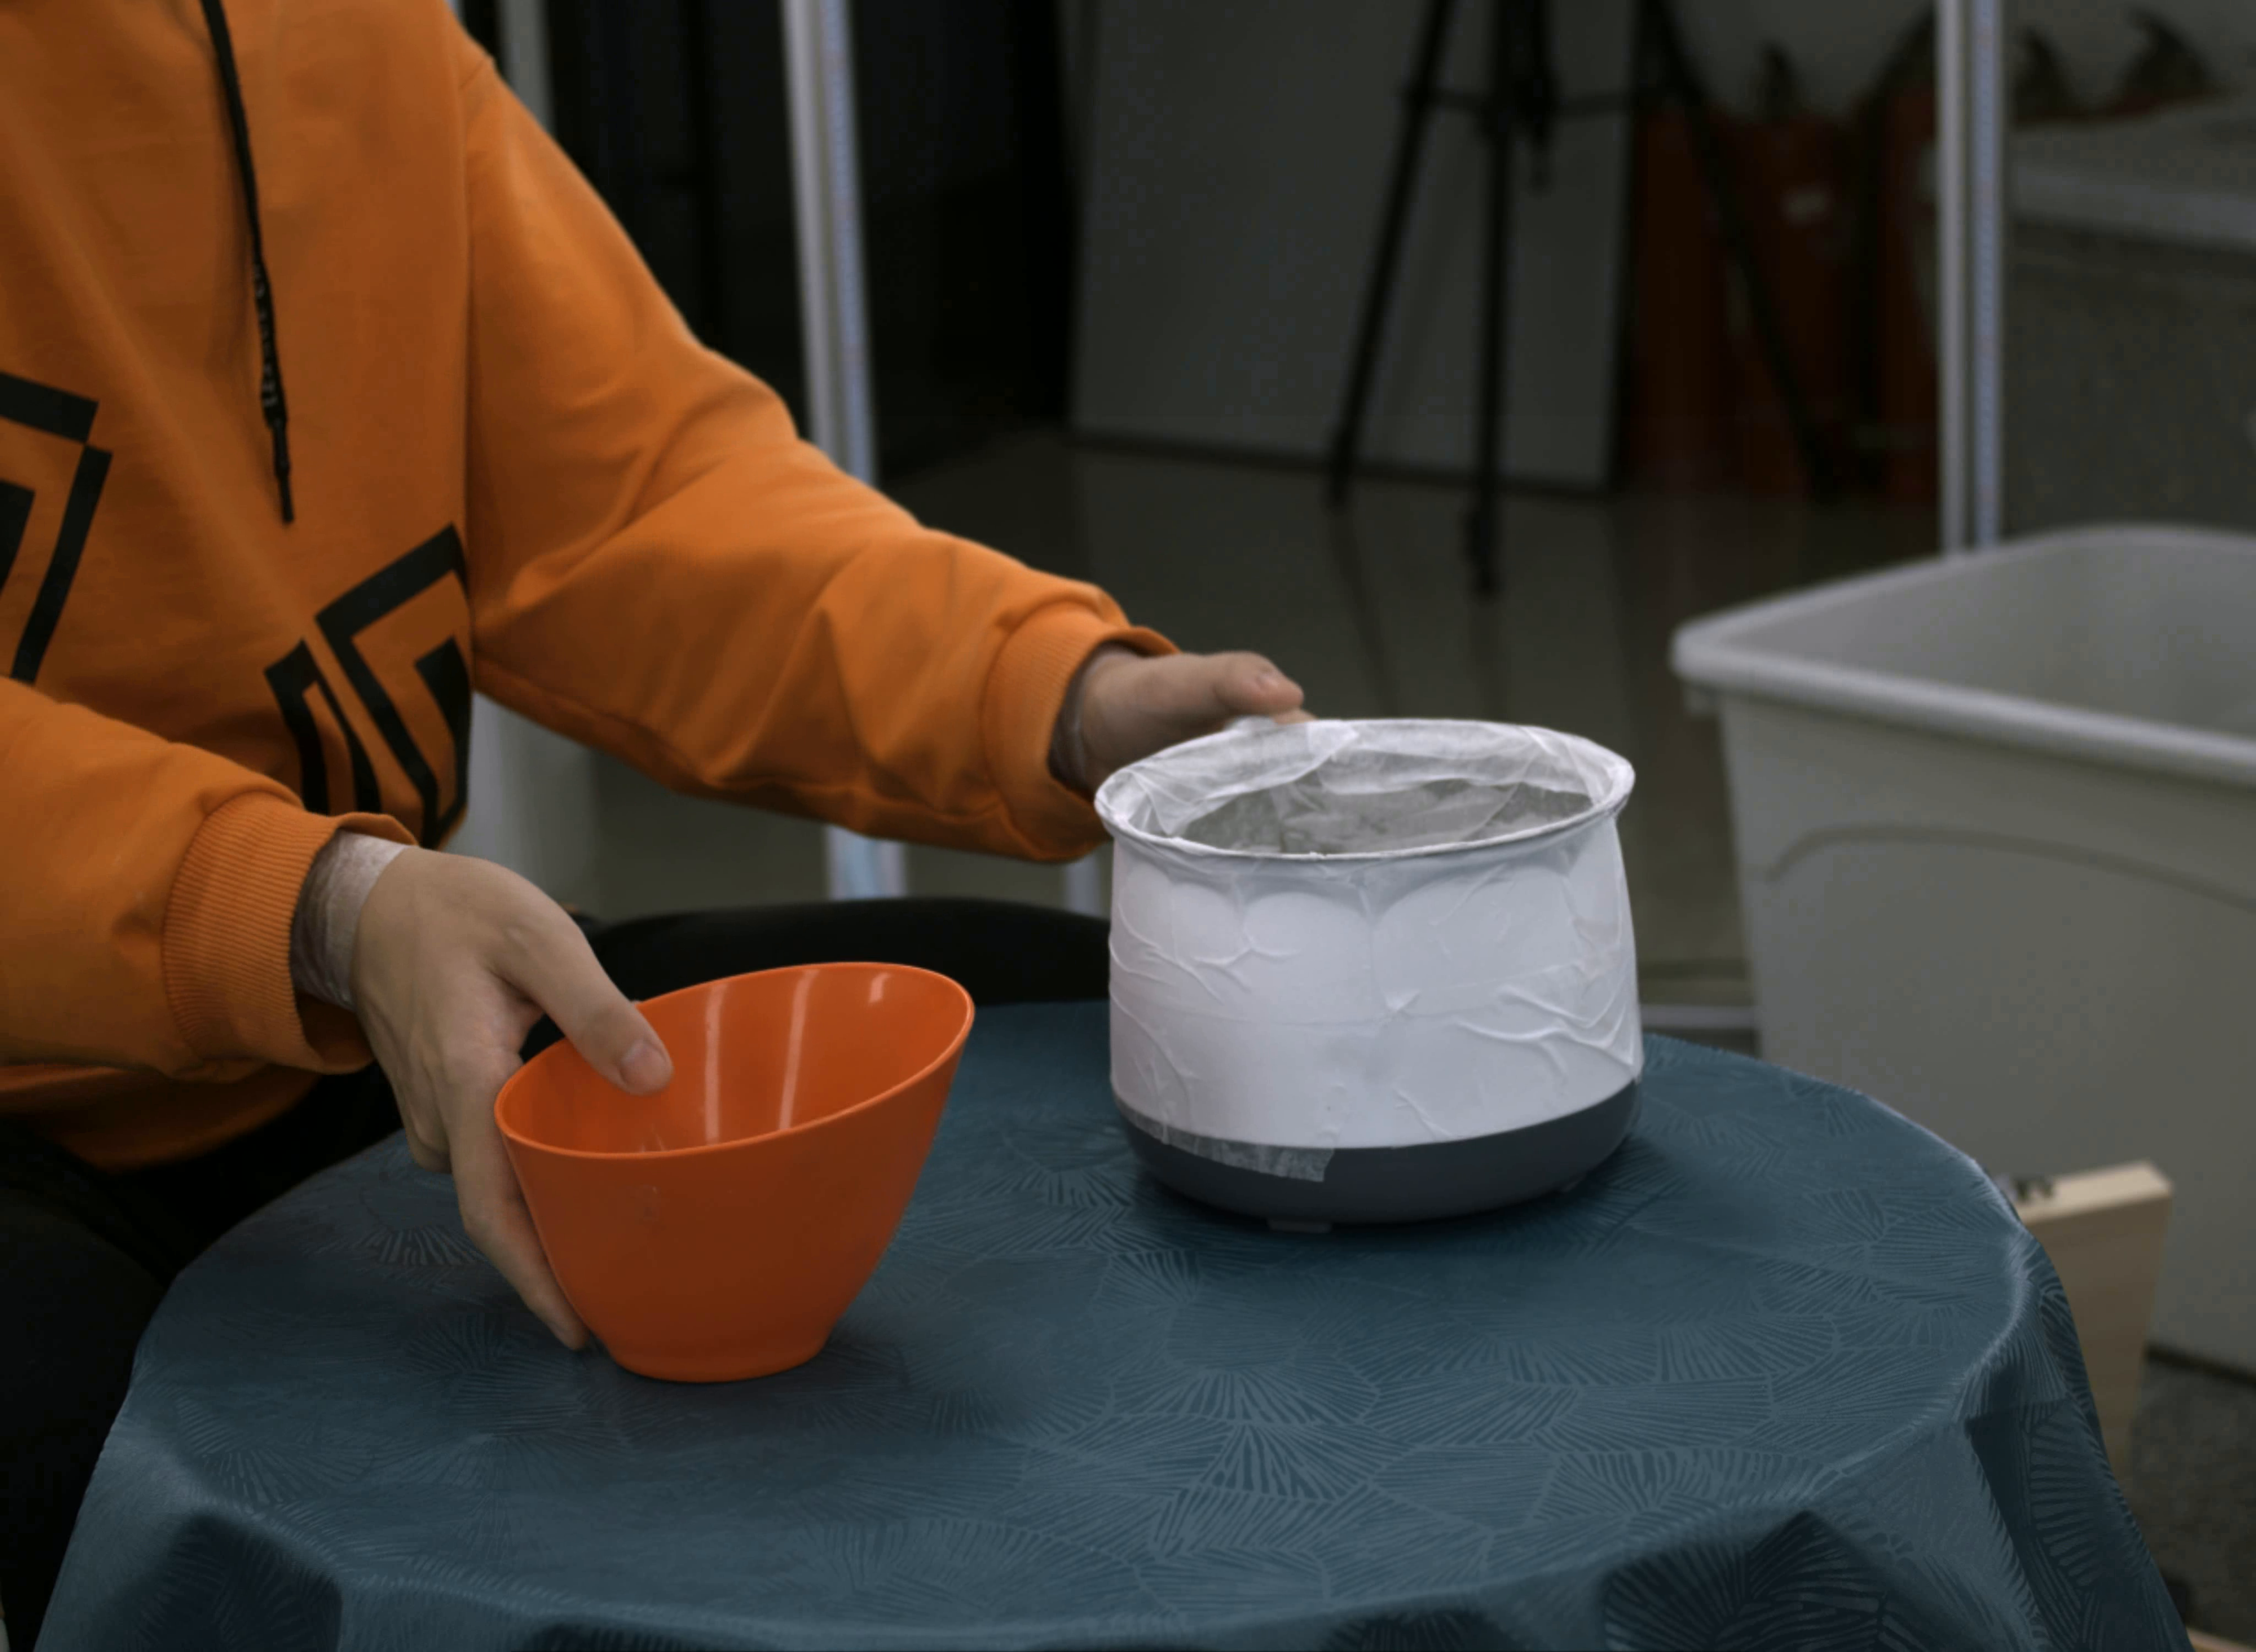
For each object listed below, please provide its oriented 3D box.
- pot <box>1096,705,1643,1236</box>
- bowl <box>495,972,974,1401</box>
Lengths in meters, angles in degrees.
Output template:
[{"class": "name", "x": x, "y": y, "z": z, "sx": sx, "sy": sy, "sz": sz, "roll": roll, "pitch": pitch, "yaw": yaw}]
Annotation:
[{"class": "pot", "x": 0.070, "y": 0.041, "z": 1.786, "sx": 0.175, "sy": 0.138, "sz": 0.236, "roll": -8, "pitch": 15, "yaw": -20}, {"class": "bowl", "x": -0.116, "y": 0.112, "z": 1.638, "sx": 0.146, "sy": 0.106, "sz": 0.148, "roll": -4, "pitch": 14, "yaw": 0}]
